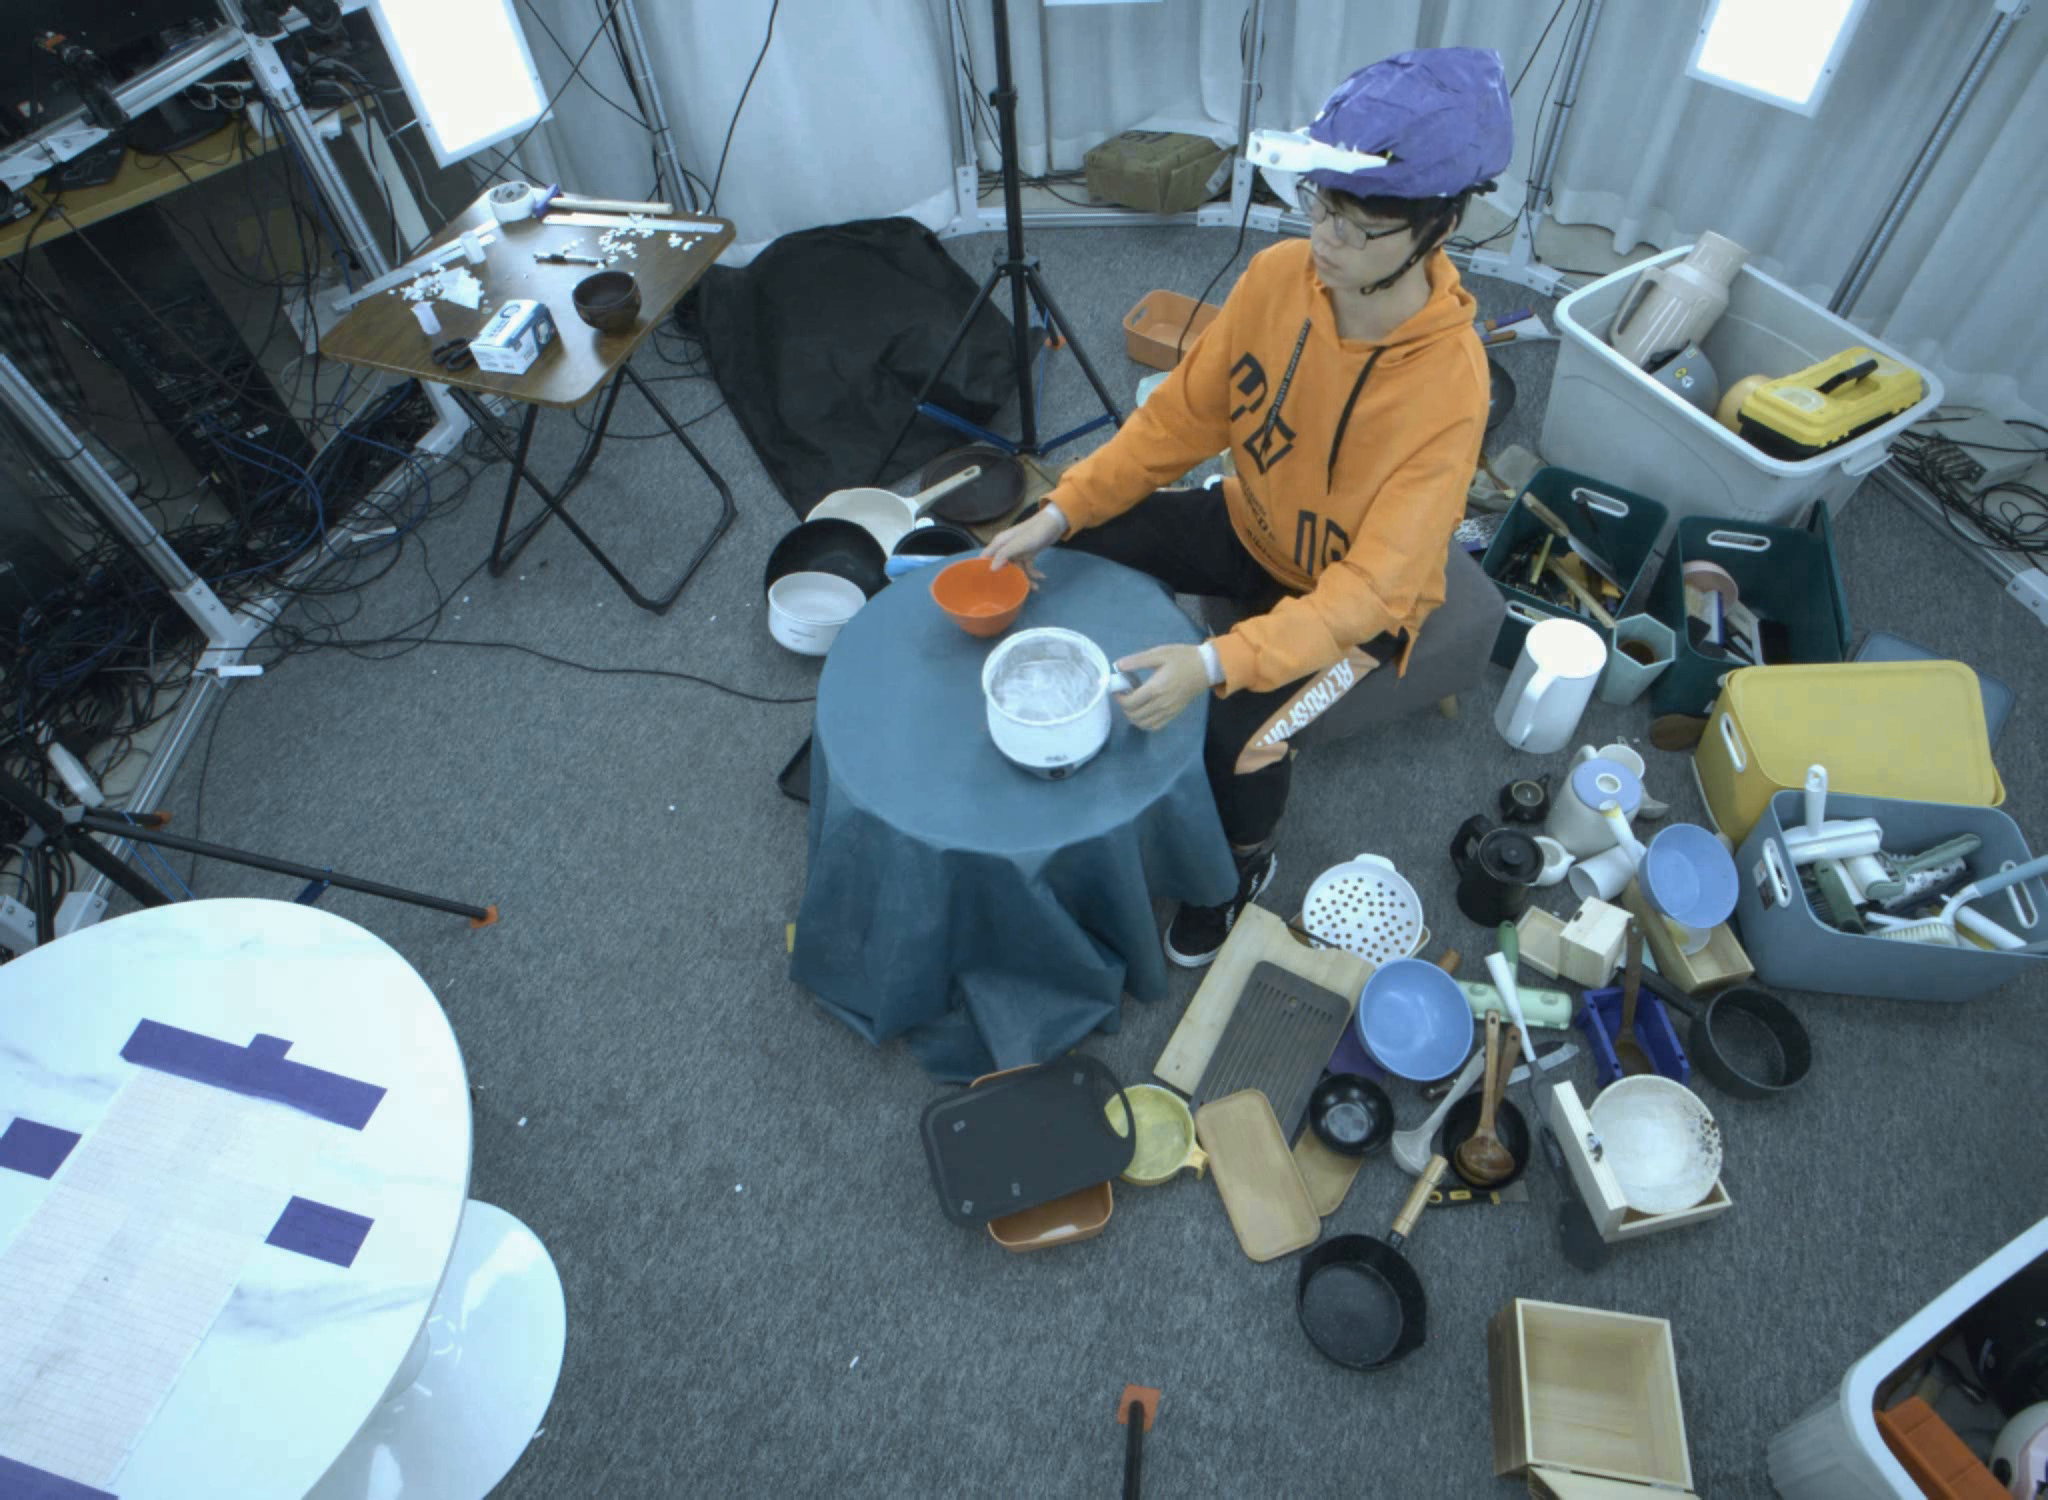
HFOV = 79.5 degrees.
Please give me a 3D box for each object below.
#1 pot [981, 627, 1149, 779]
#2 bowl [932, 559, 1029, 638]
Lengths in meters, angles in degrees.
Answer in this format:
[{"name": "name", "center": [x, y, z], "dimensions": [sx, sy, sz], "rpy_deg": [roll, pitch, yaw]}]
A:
[{"name": "pot", "center": [0.061, -0.070, 1.749], "dimensions": [0.234, 0.138, 0.176], "rpy_deg": [-9, 55, -3]}, {"name": "bowl", "center": [-0.064, -0.222, 1.887], "dimensions": [0.148, 0.106, 0.146], "rpy_deg": [-1, 53, 2]}]
